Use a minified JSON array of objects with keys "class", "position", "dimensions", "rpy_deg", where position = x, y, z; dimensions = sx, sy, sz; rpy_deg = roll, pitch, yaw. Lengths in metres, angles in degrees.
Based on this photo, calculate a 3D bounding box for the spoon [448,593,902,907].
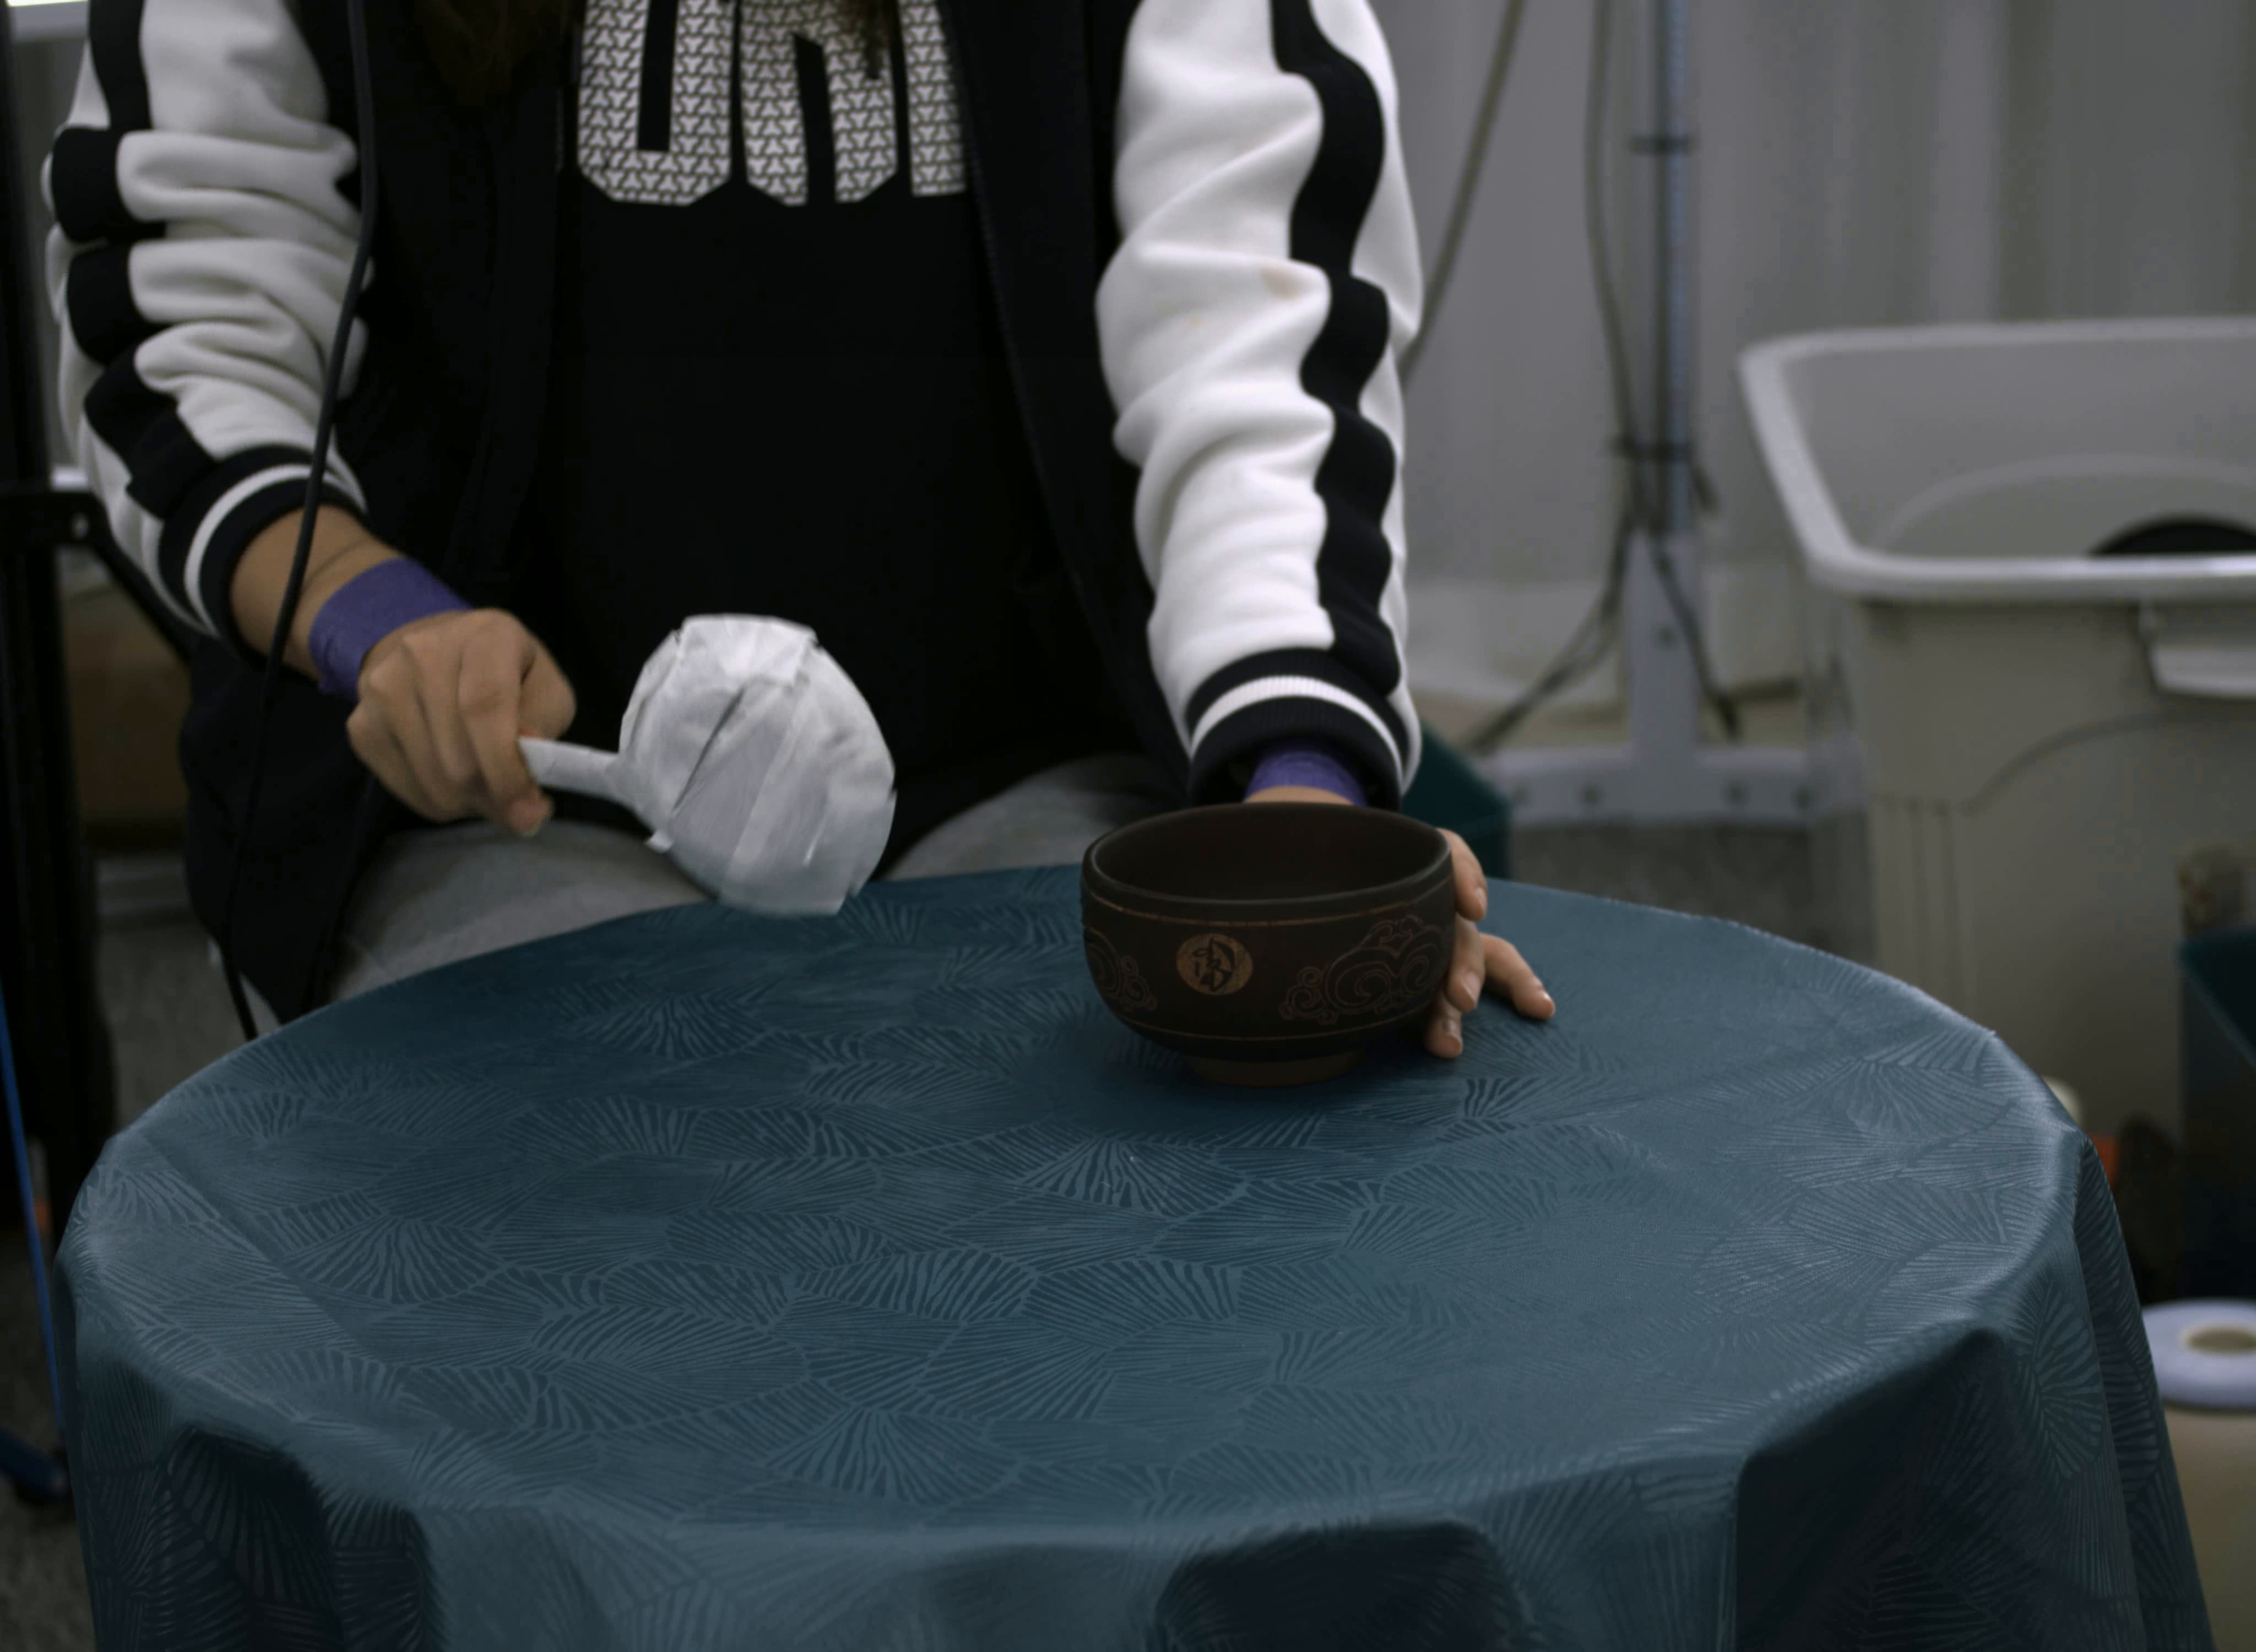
[{"class":"spoon","position":[-0.146,-0.024,1.671],"dimensions":[0.058,0.101,0.282],"rpy_deg":[-19,9,-21]}]

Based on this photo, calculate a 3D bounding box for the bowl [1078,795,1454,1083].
[{"class":"bowl","position":[0.044,0.039,1.661],"dimensions":[0.117,0.070,0.118],"rpy_deg":[-2,16,-1]}]
